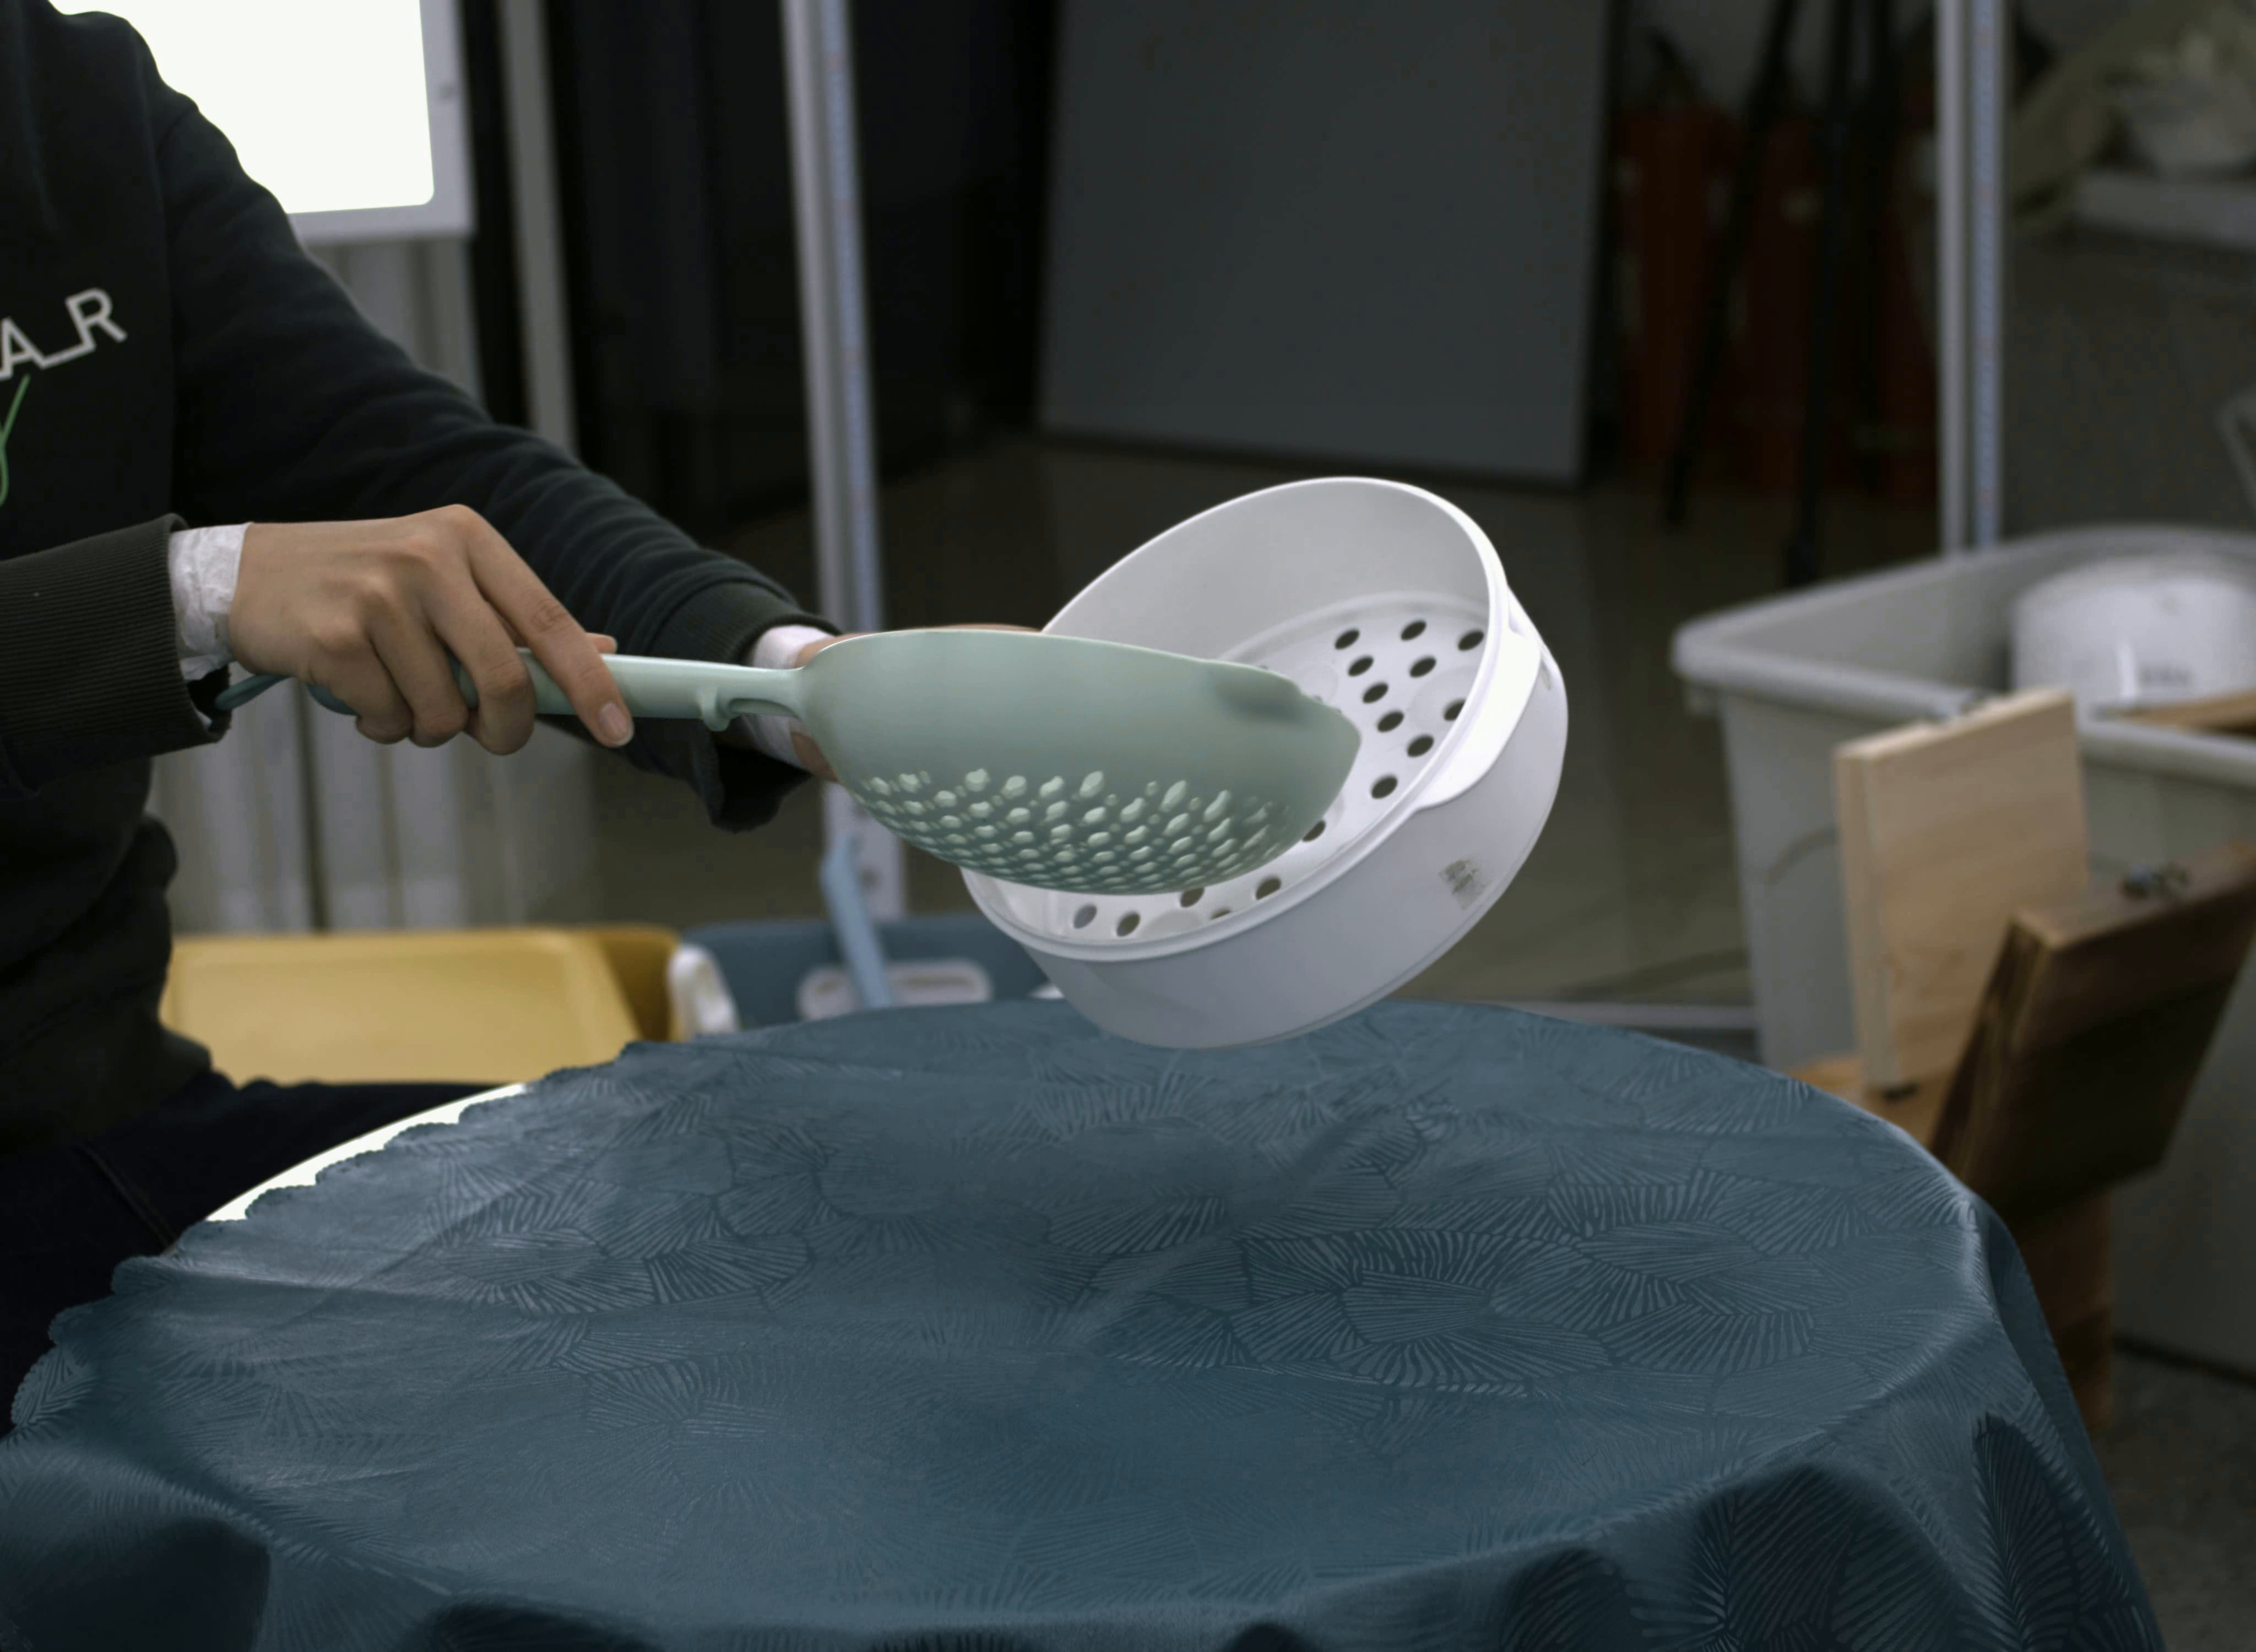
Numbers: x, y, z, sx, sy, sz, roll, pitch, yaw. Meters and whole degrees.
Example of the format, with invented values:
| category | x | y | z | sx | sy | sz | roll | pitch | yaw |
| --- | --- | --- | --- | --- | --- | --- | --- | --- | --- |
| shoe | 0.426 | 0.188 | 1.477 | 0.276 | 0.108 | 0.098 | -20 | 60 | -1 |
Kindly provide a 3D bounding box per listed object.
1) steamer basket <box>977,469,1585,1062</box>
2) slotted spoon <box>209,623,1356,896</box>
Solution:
| category | x | y | z | sx | sy | sz | roll | pitch | yaw |
| --- | --- | --- | --- | --- | --- | --- | --- | --- | --- |
| steamer basket | 0.050 | -0.019 | 1.718 | 0.232 | 0.068 | 0.202 | 0 | 50 | 41 |
| slotted spoon | -0.110 | -0.035 | 1.661 | 0.357 | 0.076 | 0.168 | 13 | -12 | 14 |
